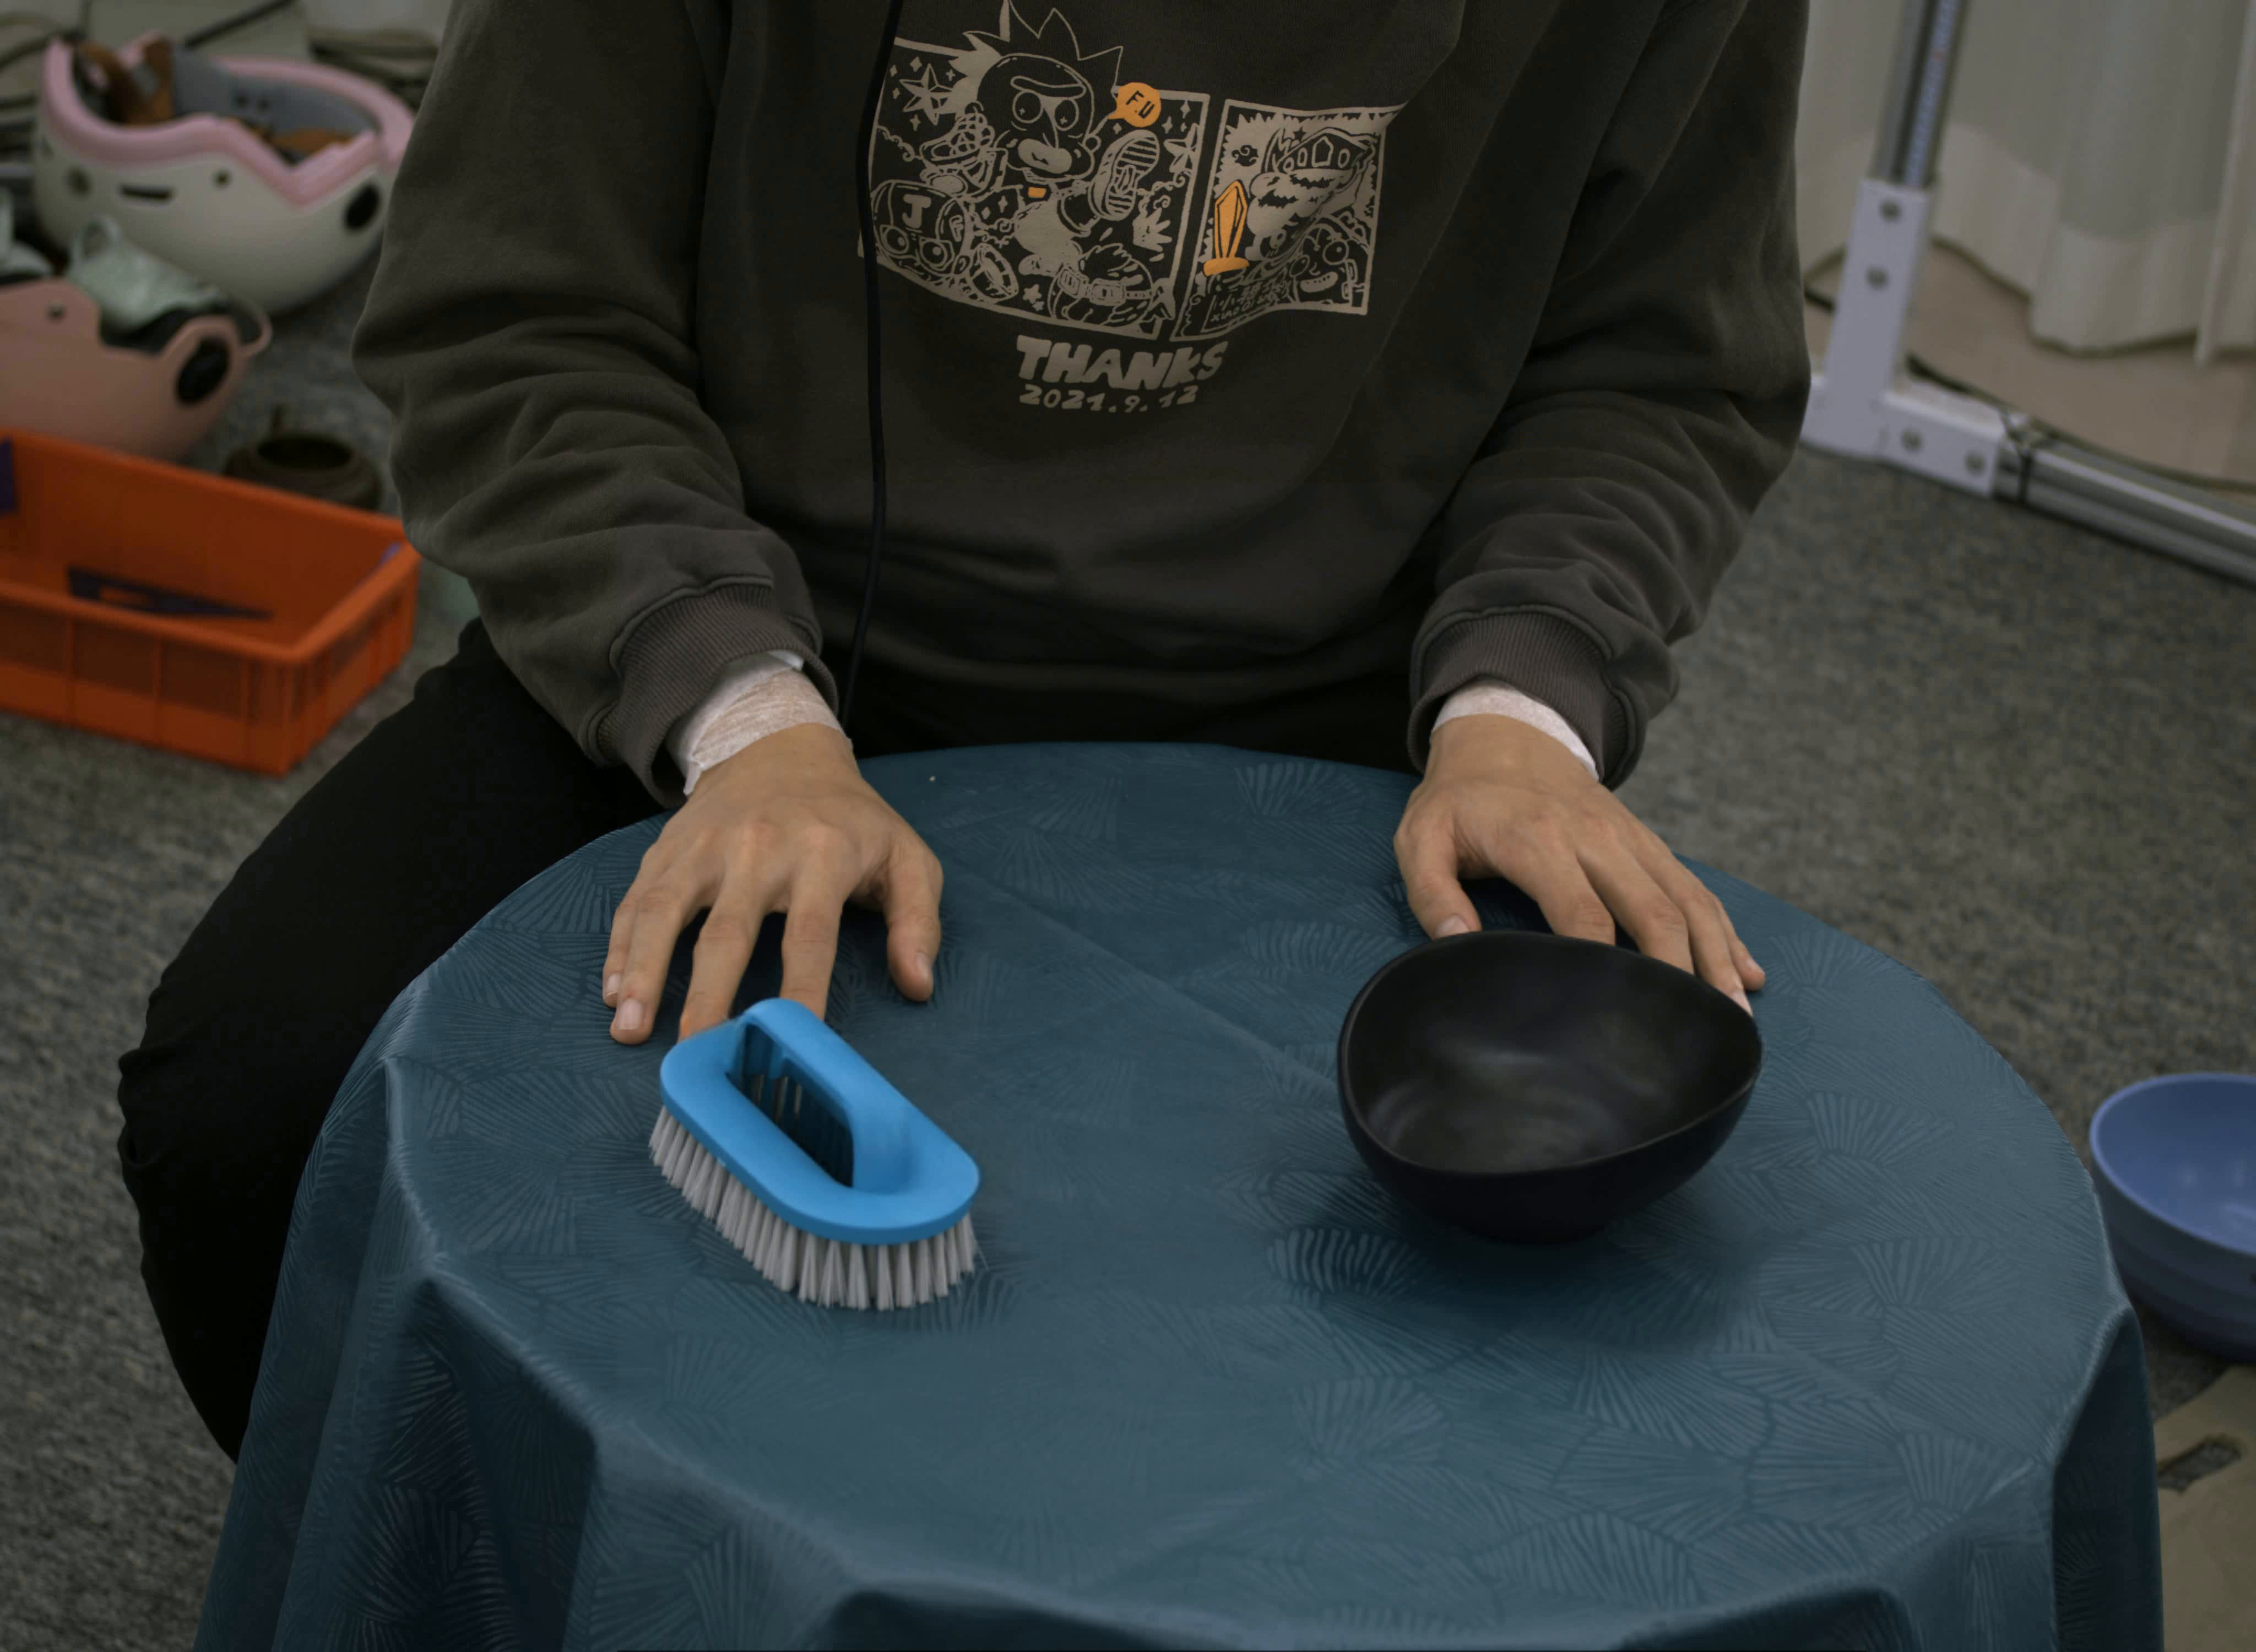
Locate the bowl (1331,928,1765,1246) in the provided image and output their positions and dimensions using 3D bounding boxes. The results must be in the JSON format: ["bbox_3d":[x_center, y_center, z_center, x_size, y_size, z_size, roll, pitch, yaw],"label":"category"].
[{"bbox_3d":[0.140,0.099,1.815,0.138,0.066,0.170,22,32,29],"label":"bowl"}]

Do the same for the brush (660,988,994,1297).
[{"bbox_3d":[-0.102,0.096,1.763,0.084,0.063,0.143,-14,32,-27],"label":"brush"}]
